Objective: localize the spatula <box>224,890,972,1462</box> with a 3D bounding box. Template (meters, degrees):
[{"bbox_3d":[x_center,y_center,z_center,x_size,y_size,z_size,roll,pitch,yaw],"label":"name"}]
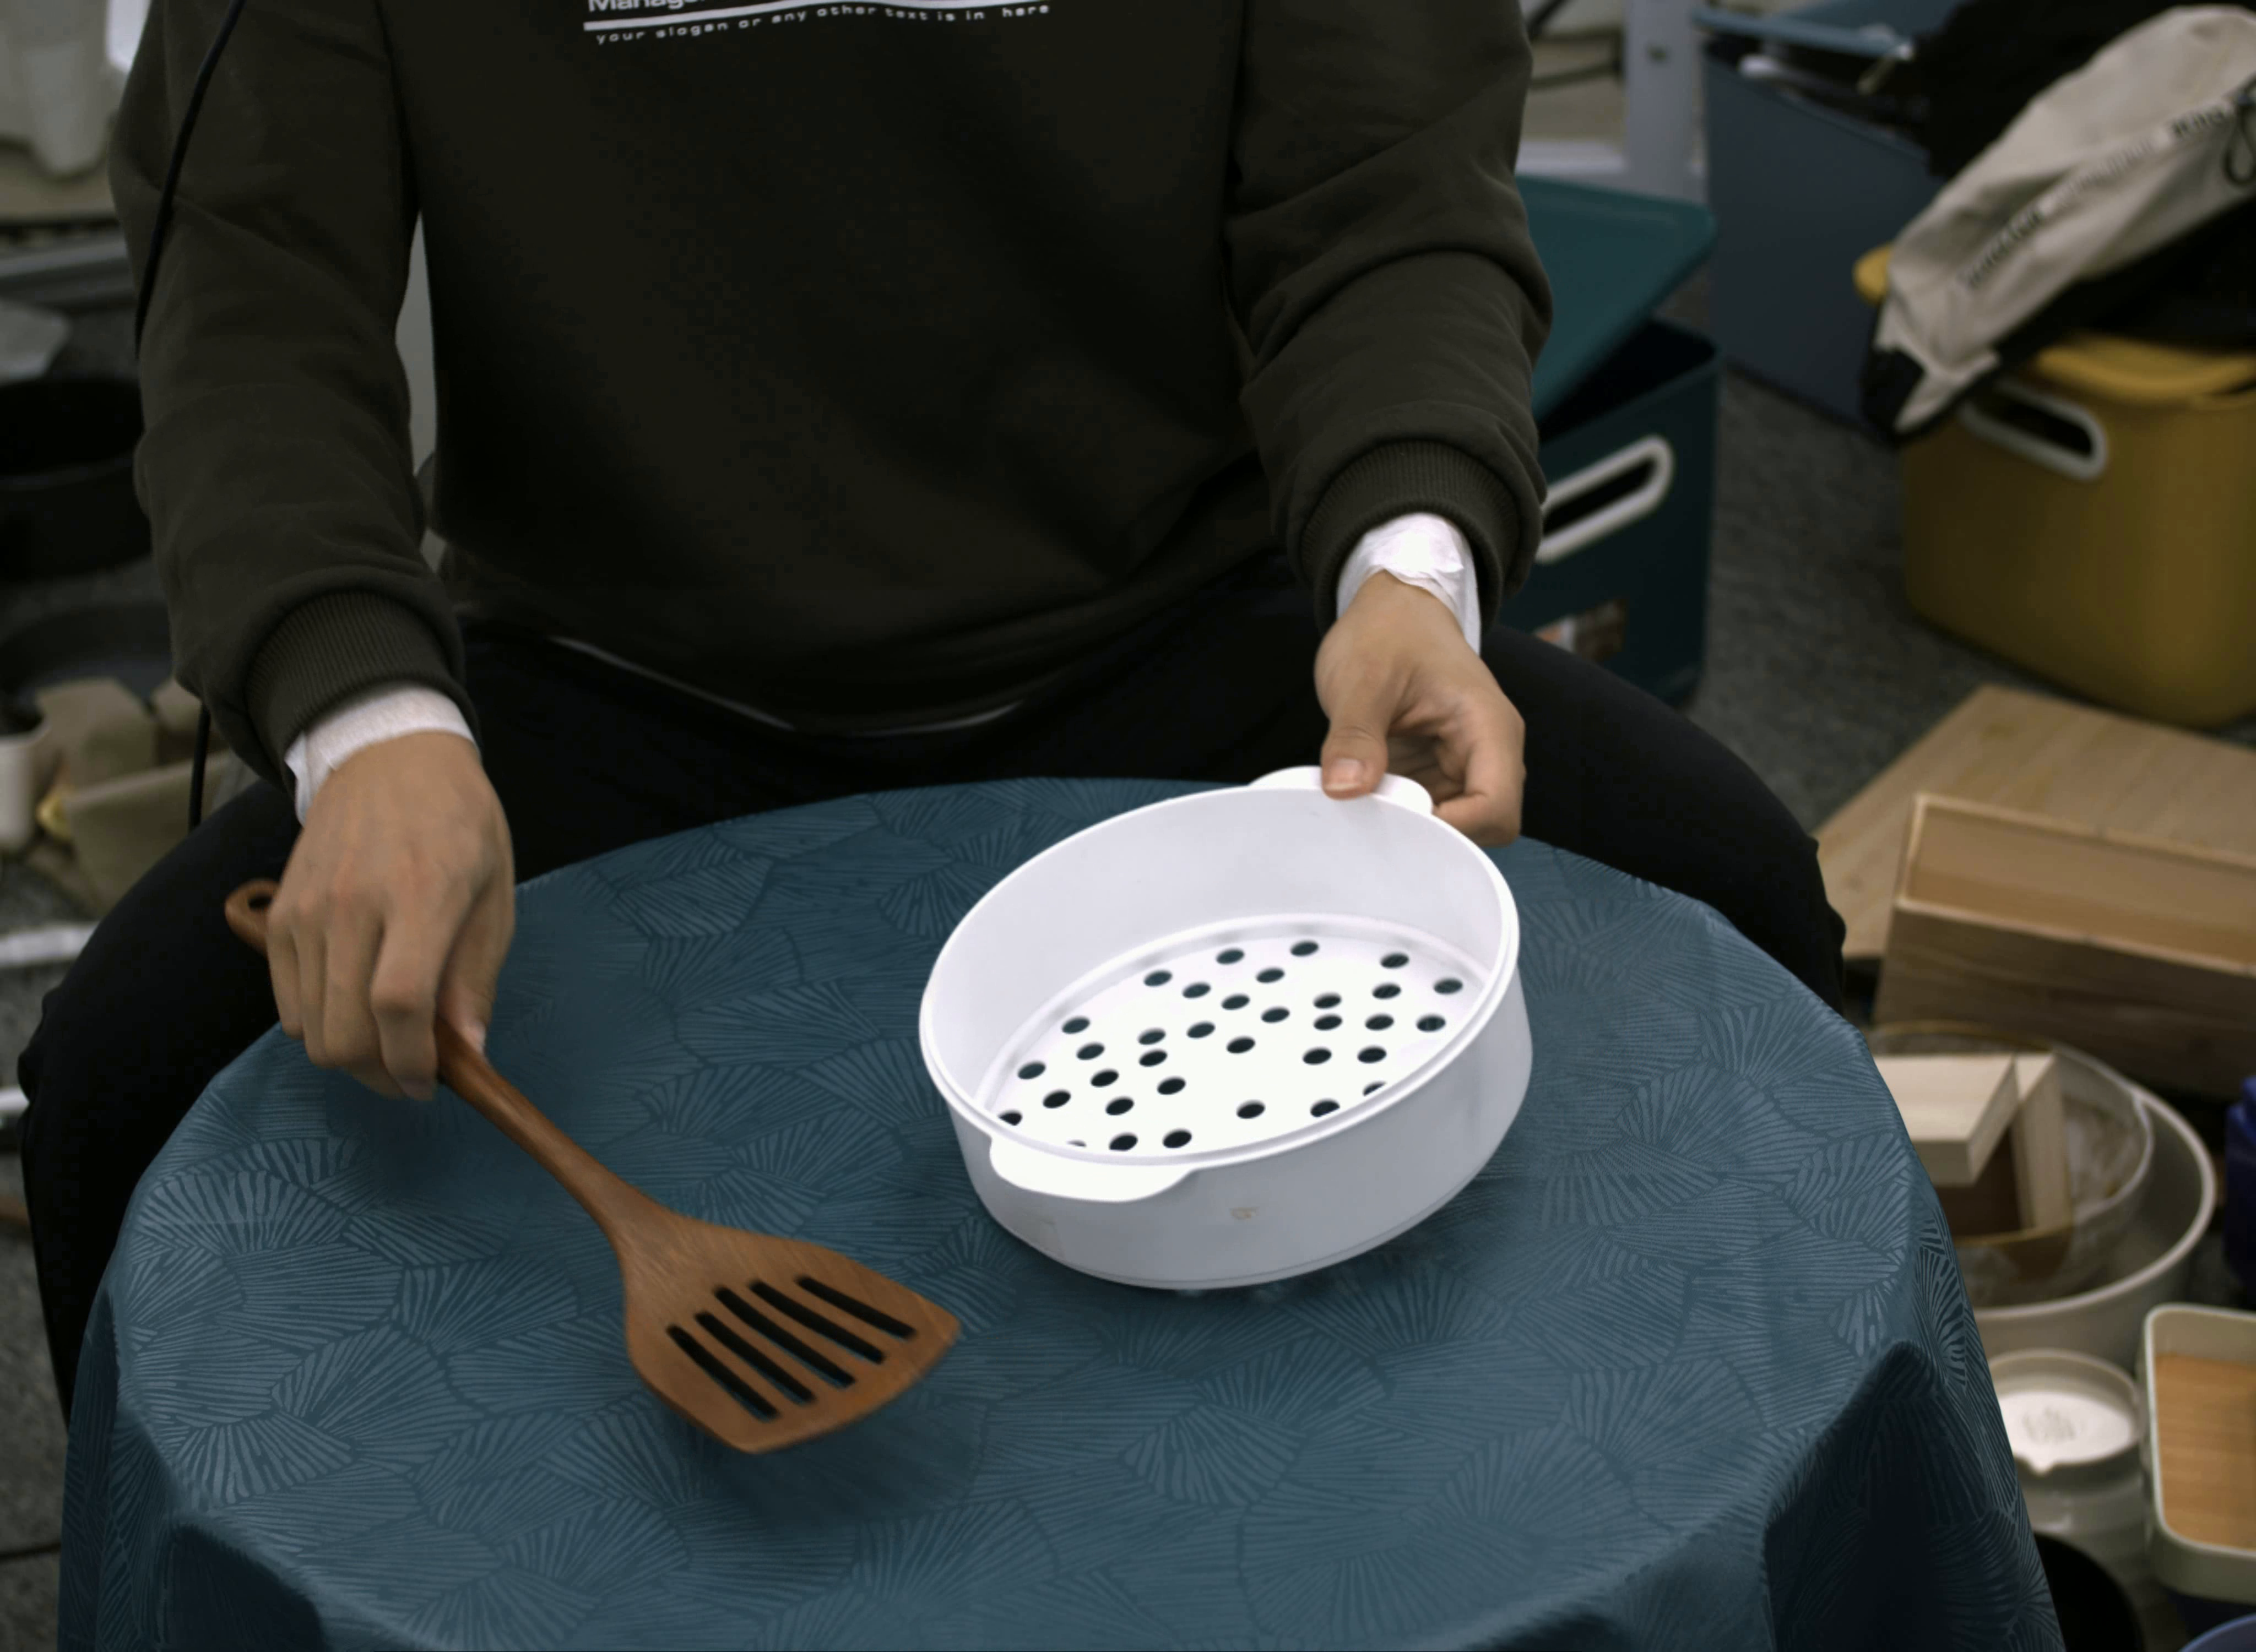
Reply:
[{"bbox_3d":[-0.191,0.106,1.821,0.087,0.023,0.386,-28,40,-28],"label":"spatula"}]

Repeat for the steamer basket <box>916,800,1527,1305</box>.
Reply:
[{"bbox_3d":[0.033,0.077,1.854,0.200,0.068,0.235,9,36,27],"label":"steamer basket"}]
